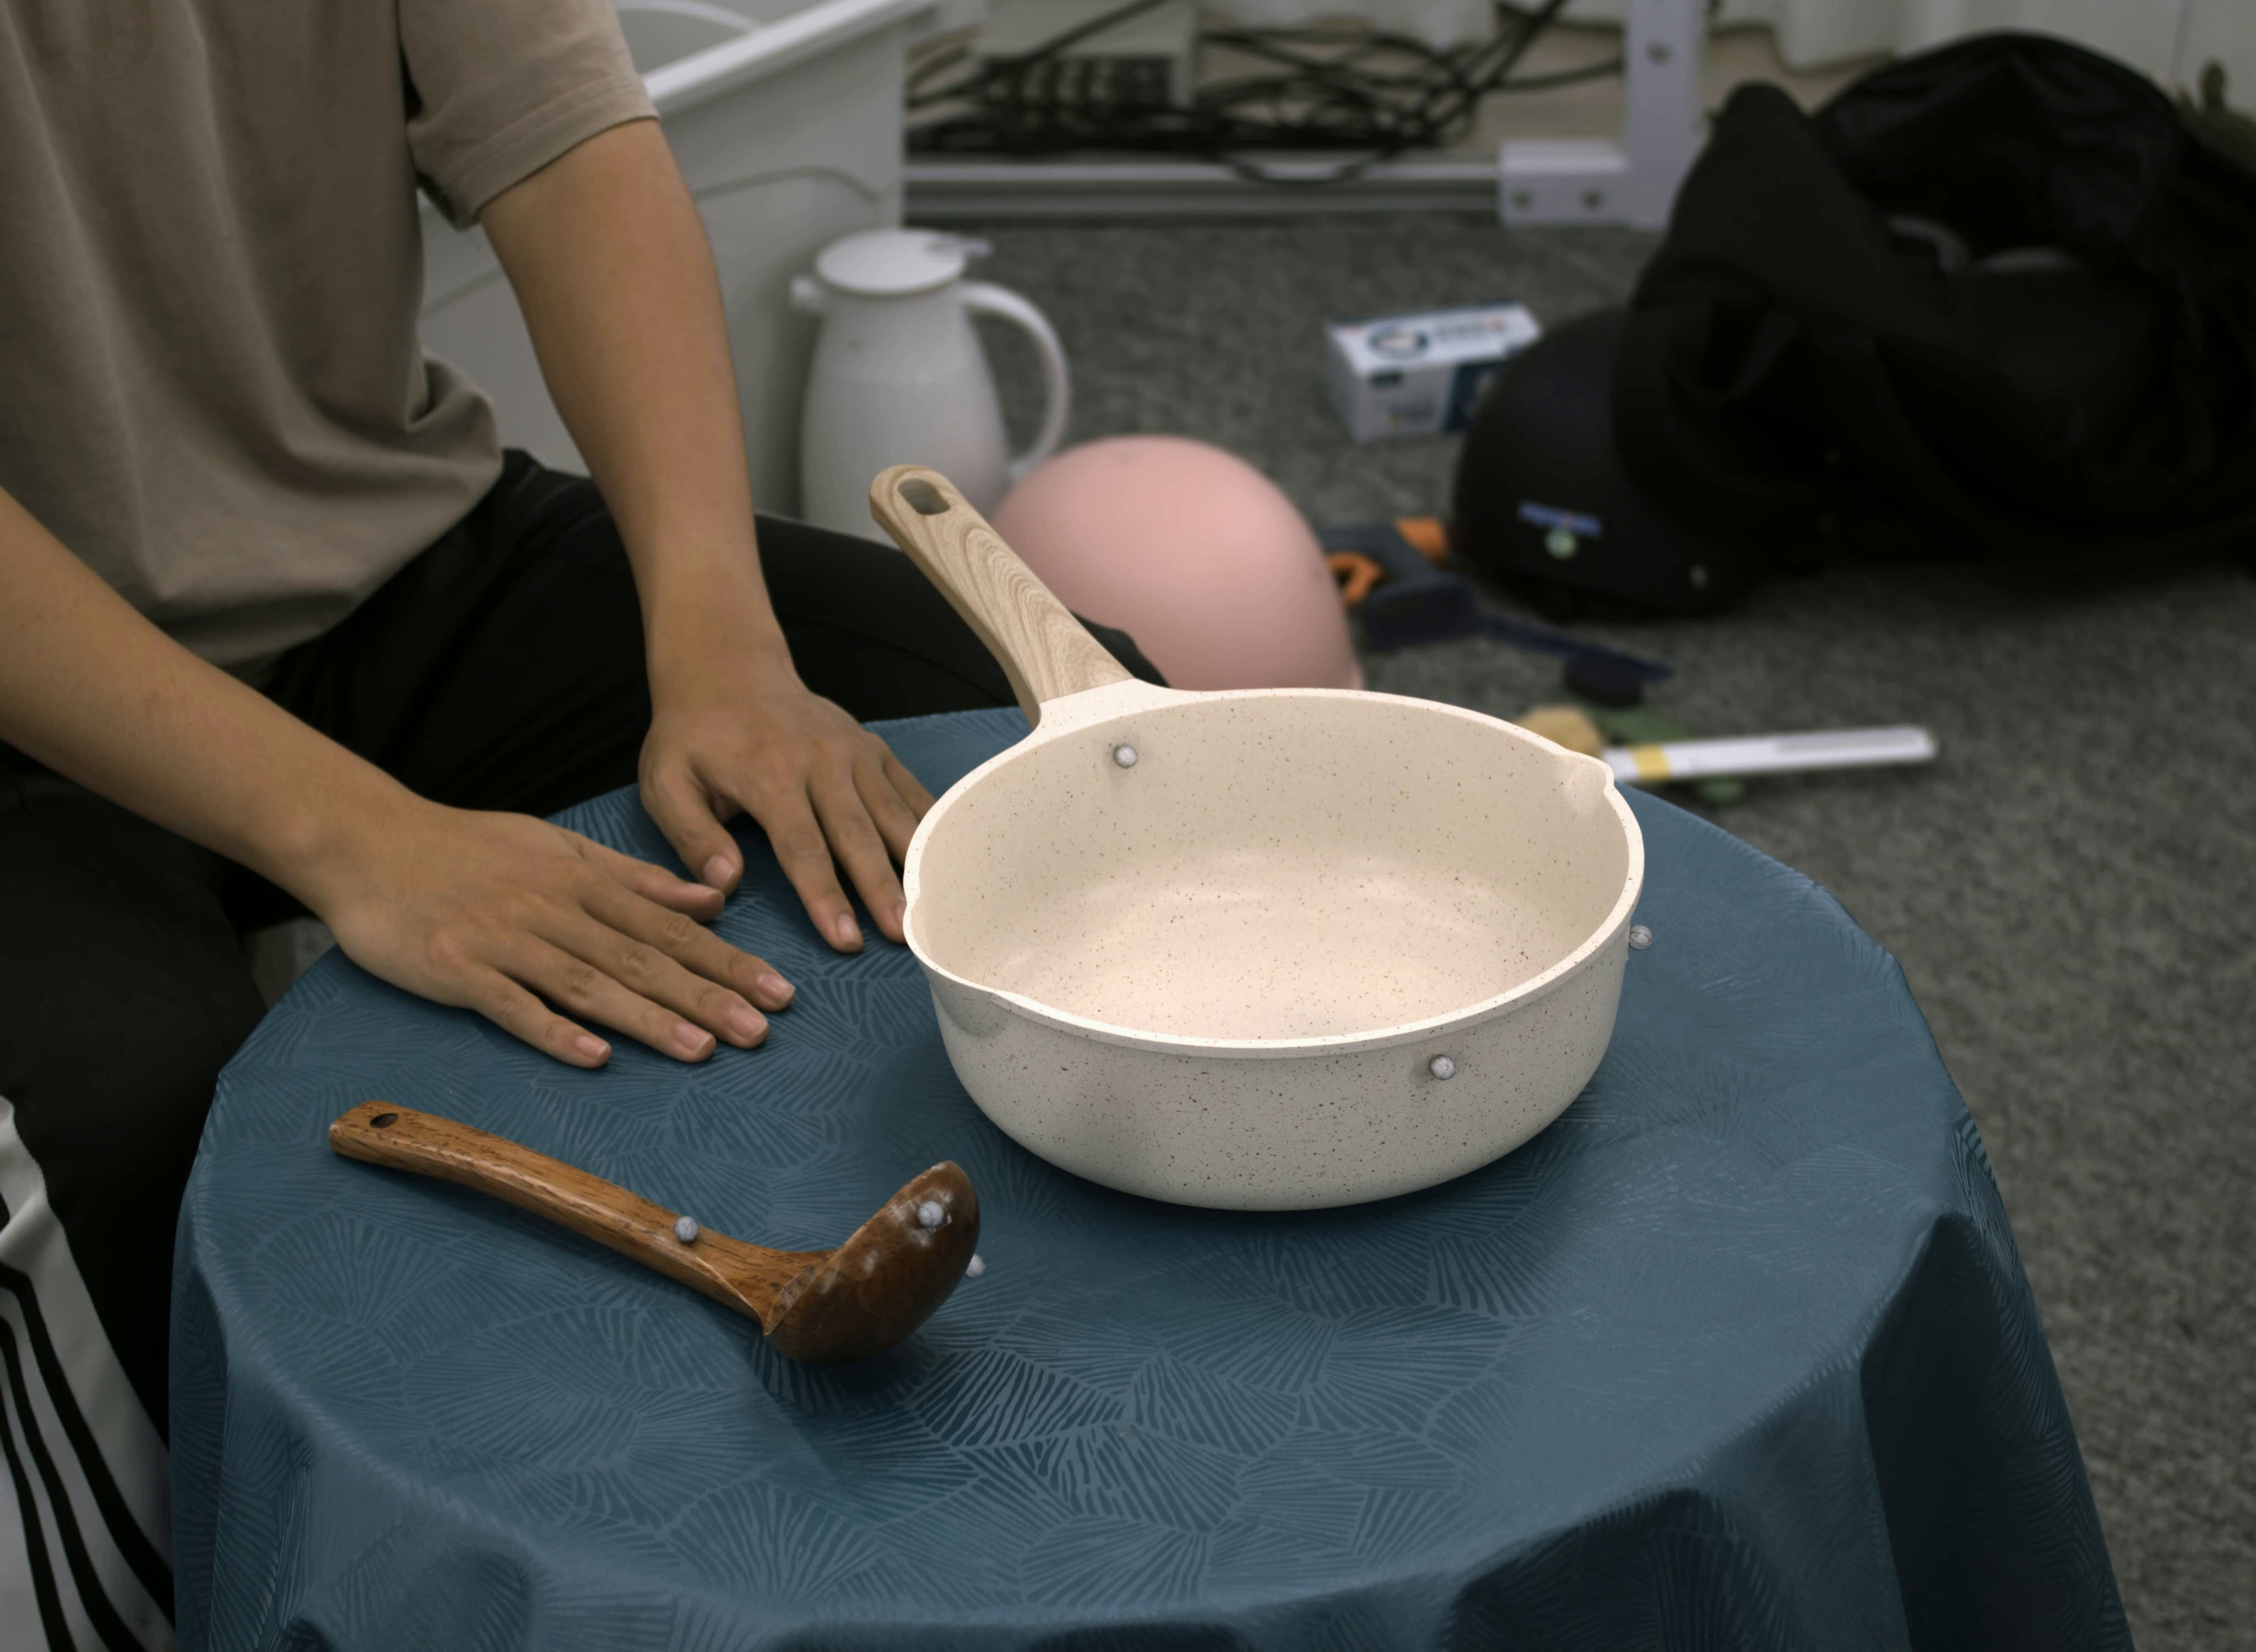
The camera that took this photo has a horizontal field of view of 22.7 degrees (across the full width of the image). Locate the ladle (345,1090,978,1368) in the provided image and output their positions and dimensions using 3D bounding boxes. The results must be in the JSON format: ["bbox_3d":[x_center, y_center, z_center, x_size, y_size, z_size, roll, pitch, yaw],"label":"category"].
[{"bbox_3d":[-0.162,0.110,1.815,0.273,0.076,0.083,20,36,36],"label":"ladle"}]

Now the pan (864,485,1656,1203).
[{"bbox_3d":[0.013,0.000,1.988,0.264,0.101,0.437,-16,30,-22],"label":"pan"}]
